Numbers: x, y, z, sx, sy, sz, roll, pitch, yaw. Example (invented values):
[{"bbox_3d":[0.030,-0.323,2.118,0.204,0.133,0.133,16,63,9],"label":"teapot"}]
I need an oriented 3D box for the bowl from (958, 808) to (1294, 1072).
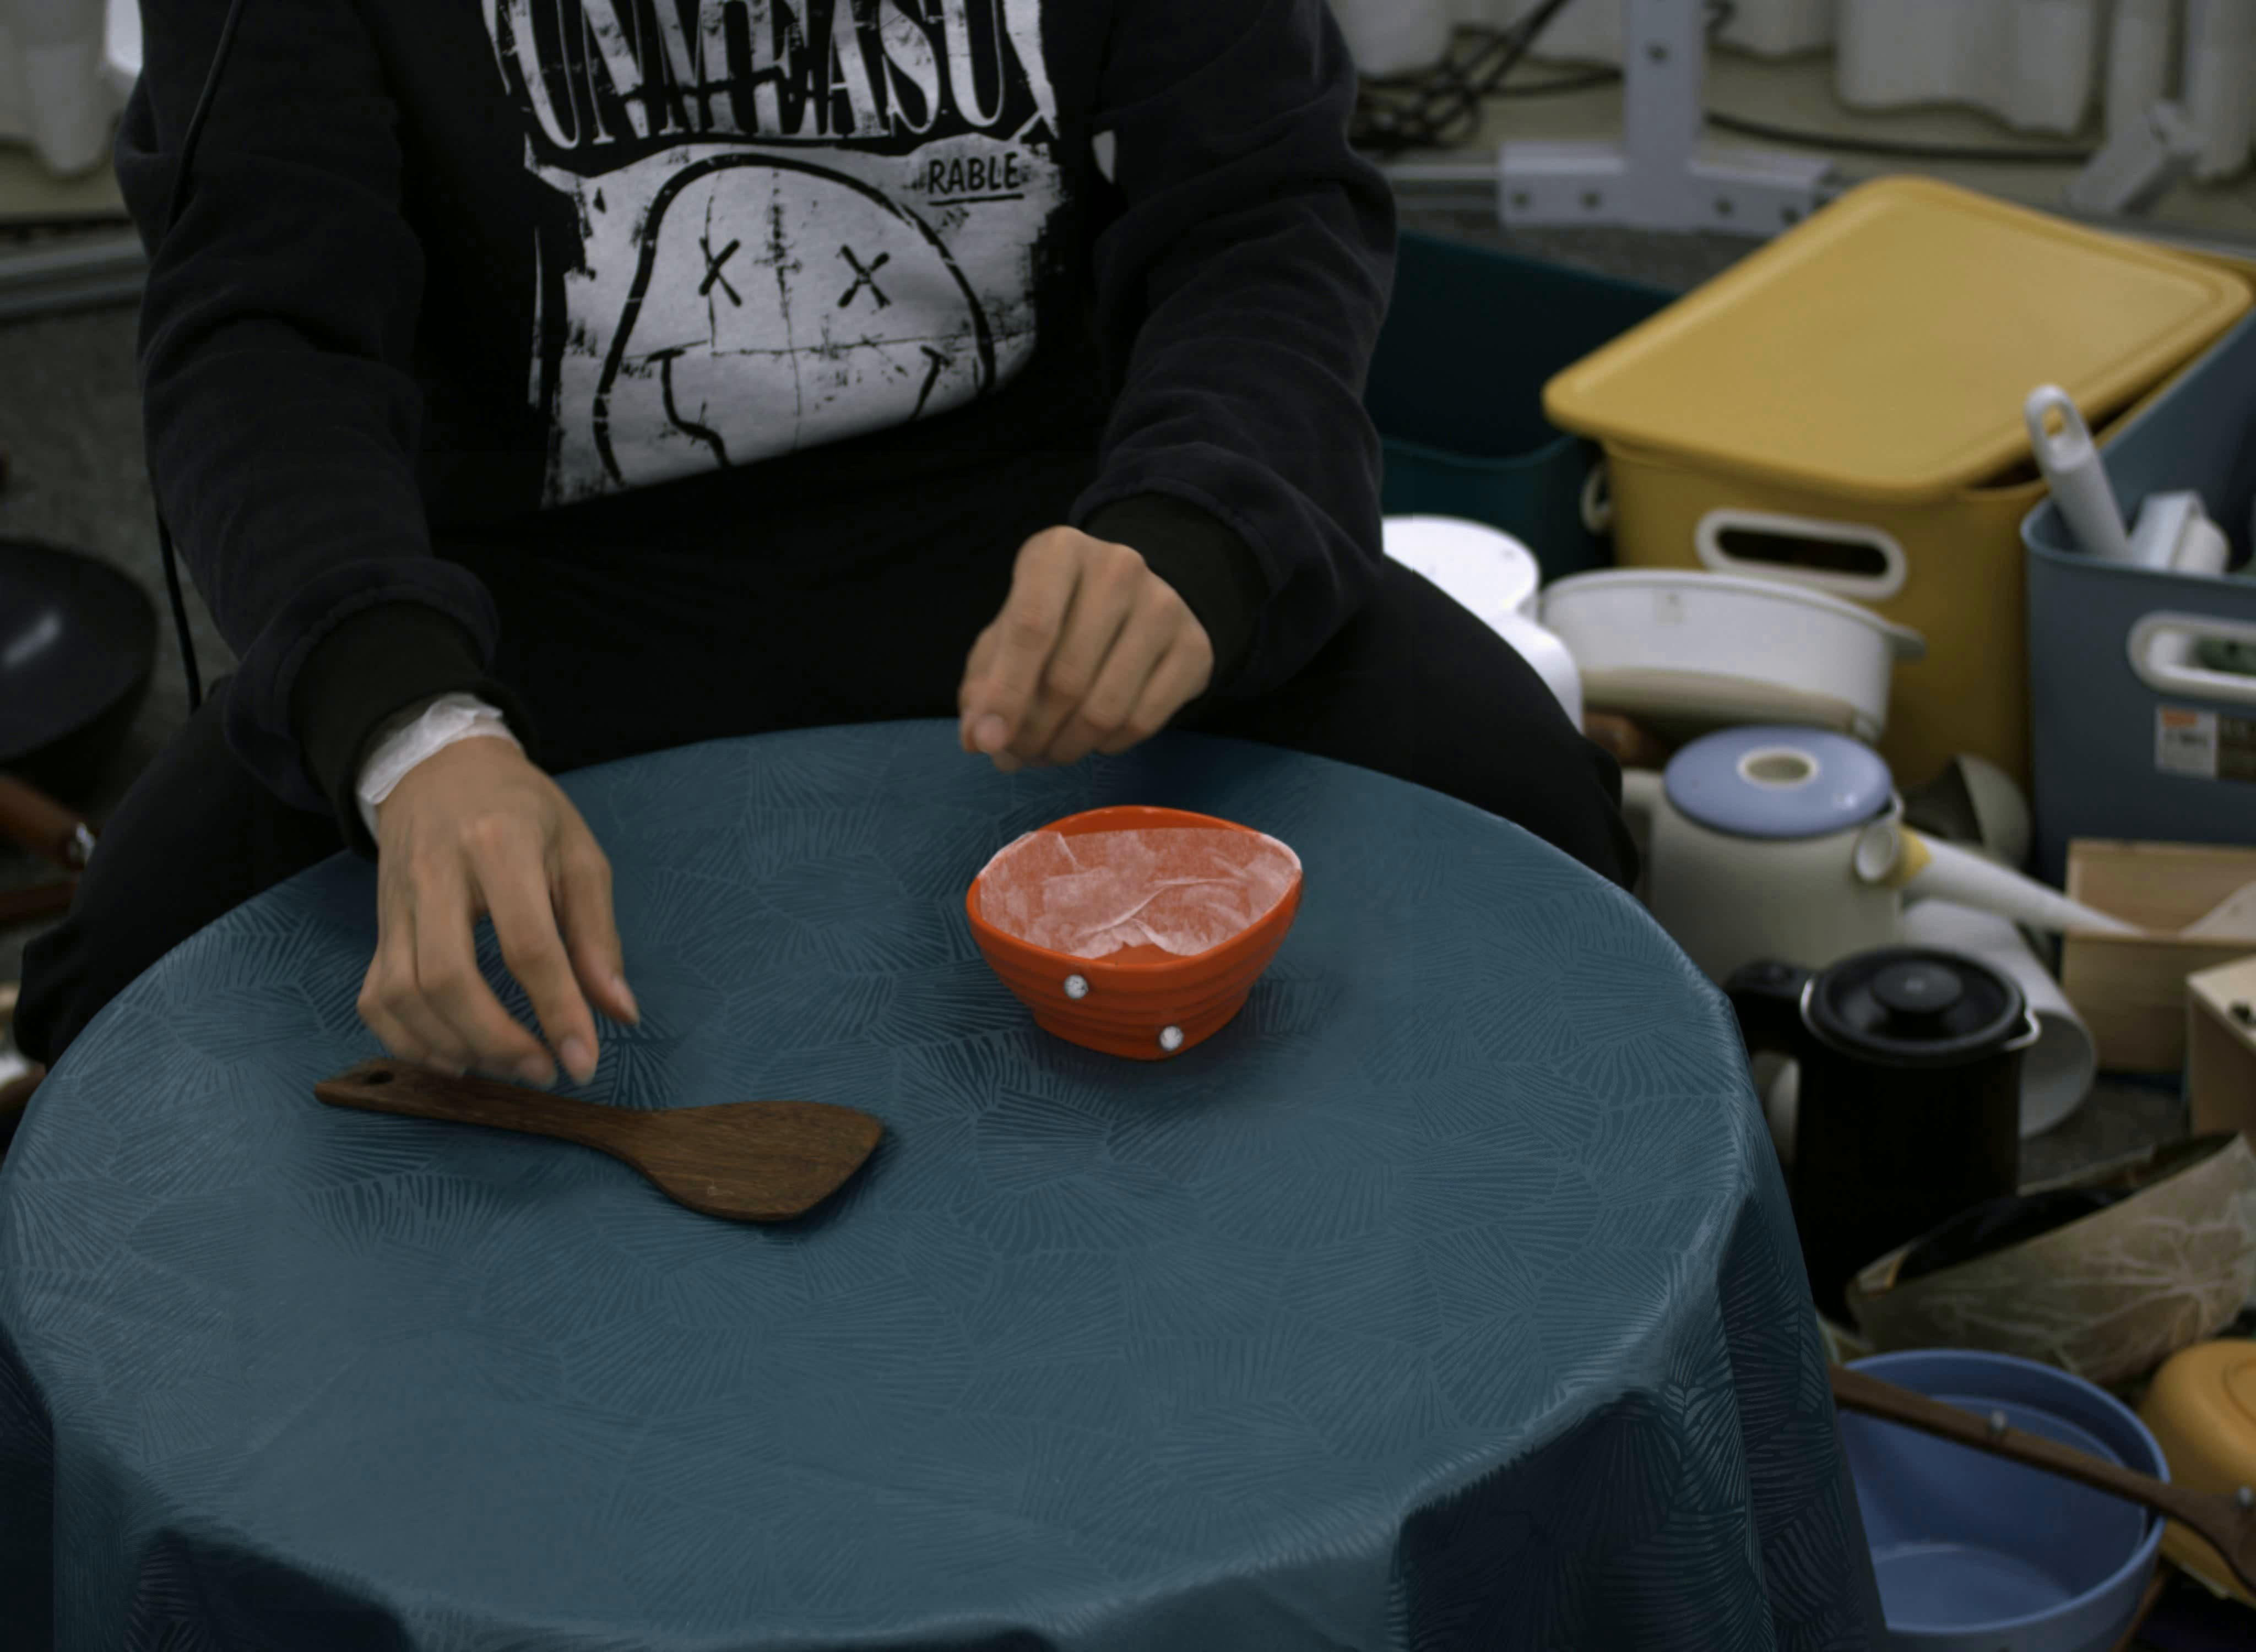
[{"bbox_3d":[0.001,0.045,1.964,0.118,0.051,0.121,-3,31,2],"label":"bowl"}]

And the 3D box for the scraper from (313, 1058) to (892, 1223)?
[{"bbox_3d":[-0.183,0.102,1.909,0.210,0.011,0.077,9,29,23],"label":"scraper"}]
